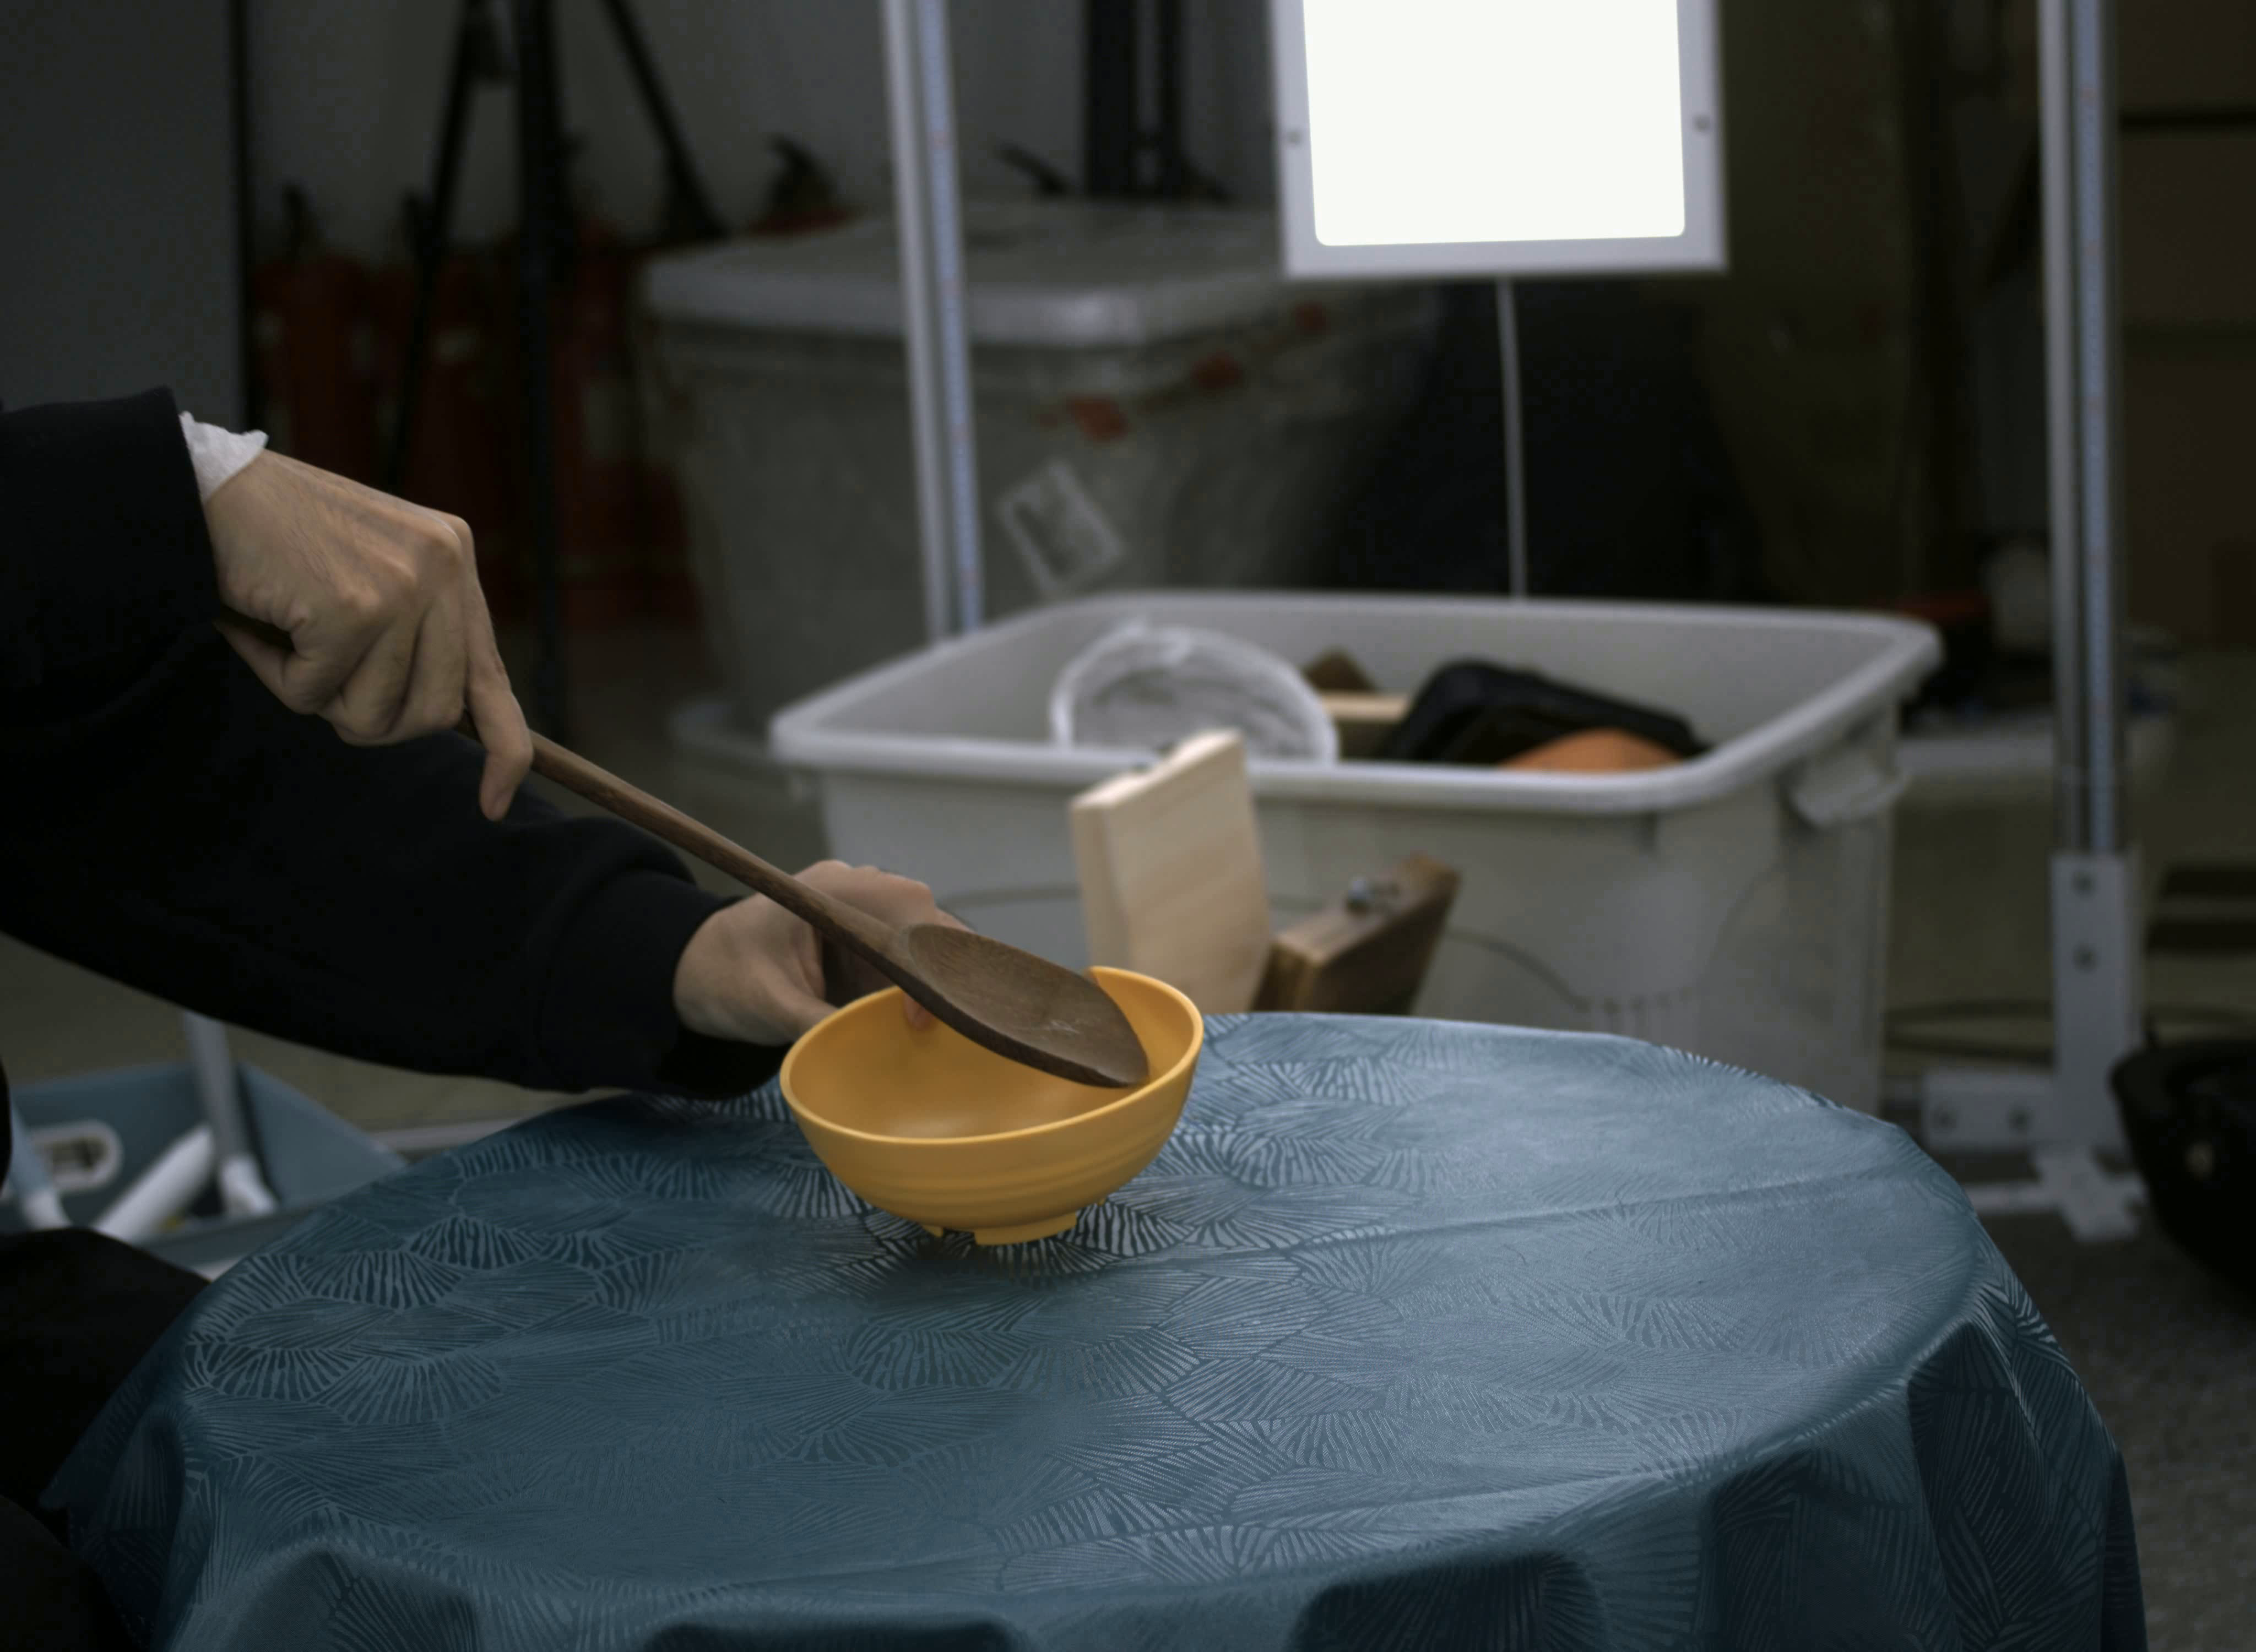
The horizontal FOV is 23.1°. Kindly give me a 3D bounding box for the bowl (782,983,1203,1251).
[{"bbox_3d":[-0.043,0.105,1.868,0.145,0.060,0.145,-7,18,1],"label":"bowl"}]

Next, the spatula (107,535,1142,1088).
[{"bbox_3d":[-0.160,-0.007,1.813,0.381,0.016,0.096,28,15,-15],"label":"spatula"}]
